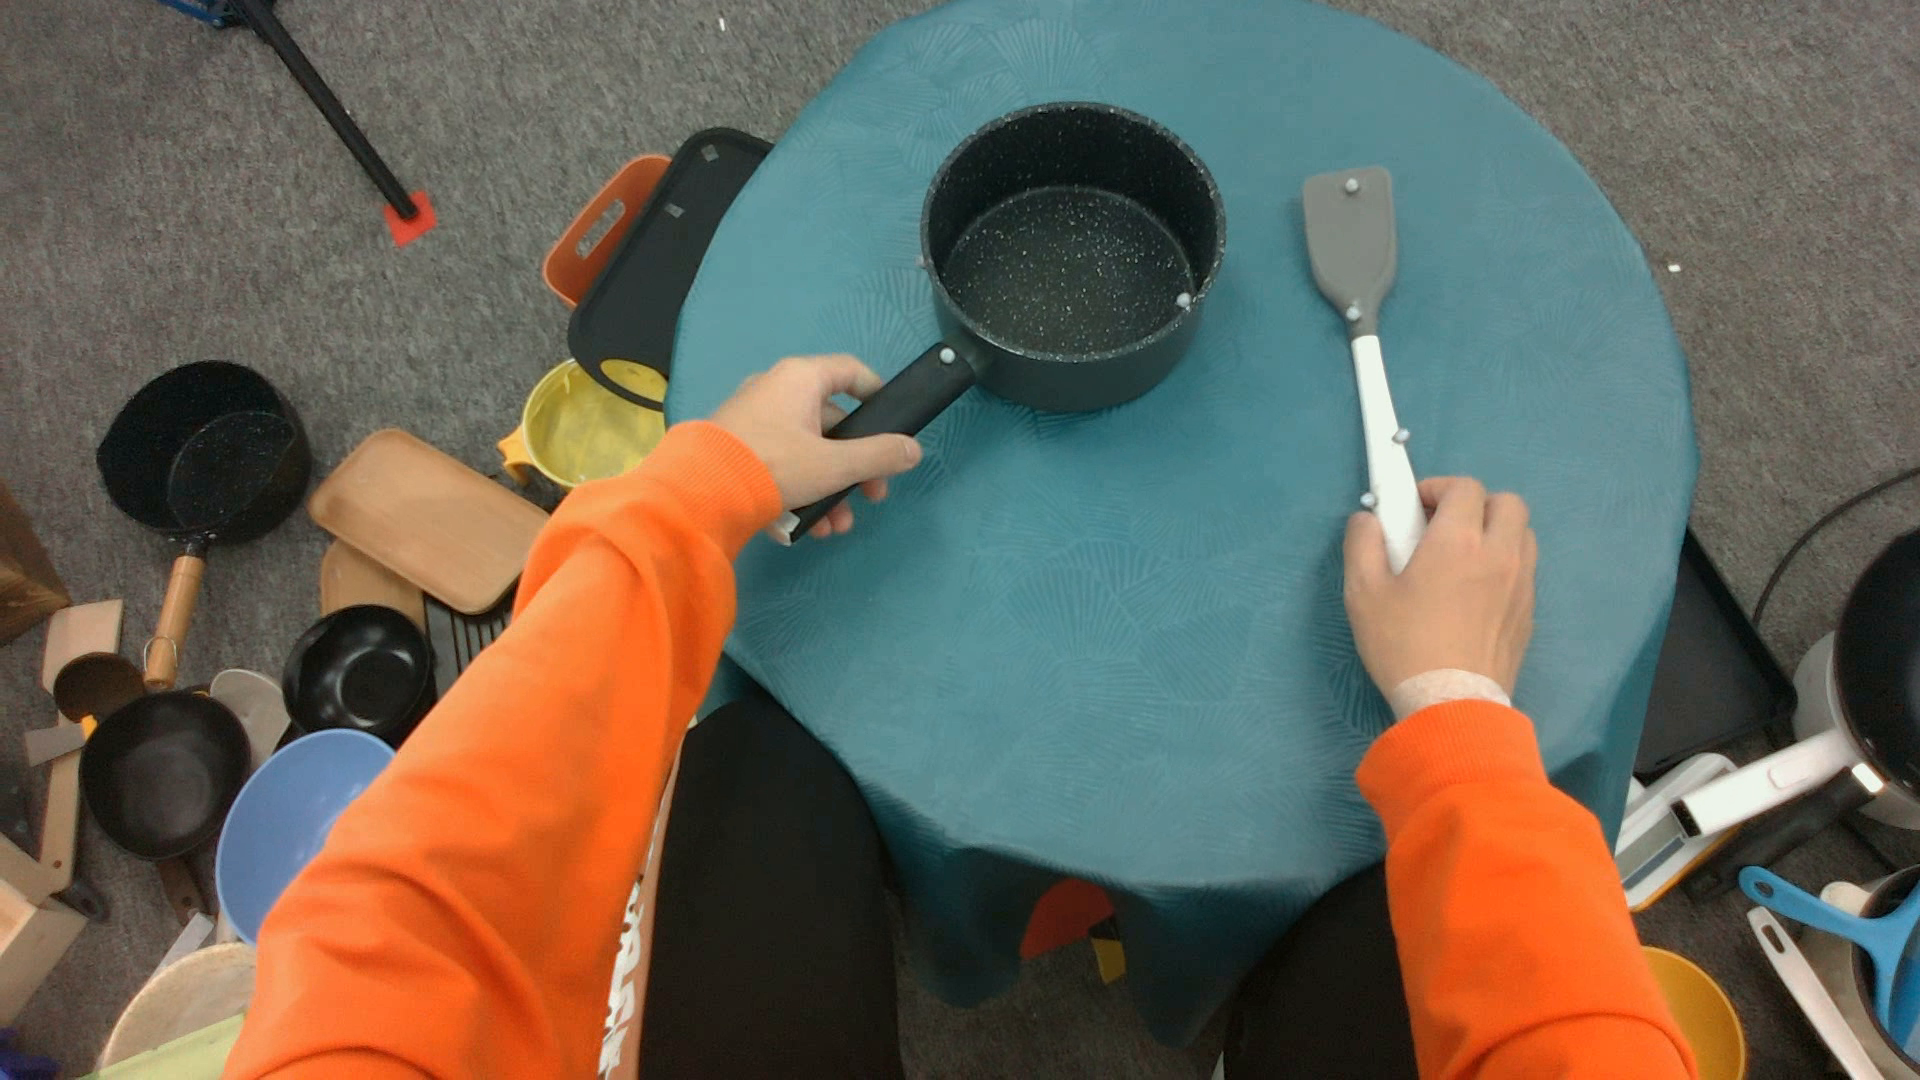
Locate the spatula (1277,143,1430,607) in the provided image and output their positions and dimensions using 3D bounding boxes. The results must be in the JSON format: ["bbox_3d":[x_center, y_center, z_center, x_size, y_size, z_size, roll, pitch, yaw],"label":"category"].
[{"bbox_3d":[0.229,-0.102,0.794,0.058,0.032,0.288,-8,69,13],"label":"spatula"}]

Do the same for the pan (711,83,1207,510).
[{"bbox_3d":[-0.003,-0.120,0.779,0.172,0.086,0.329,42,73,16],"label":"pan"}]
